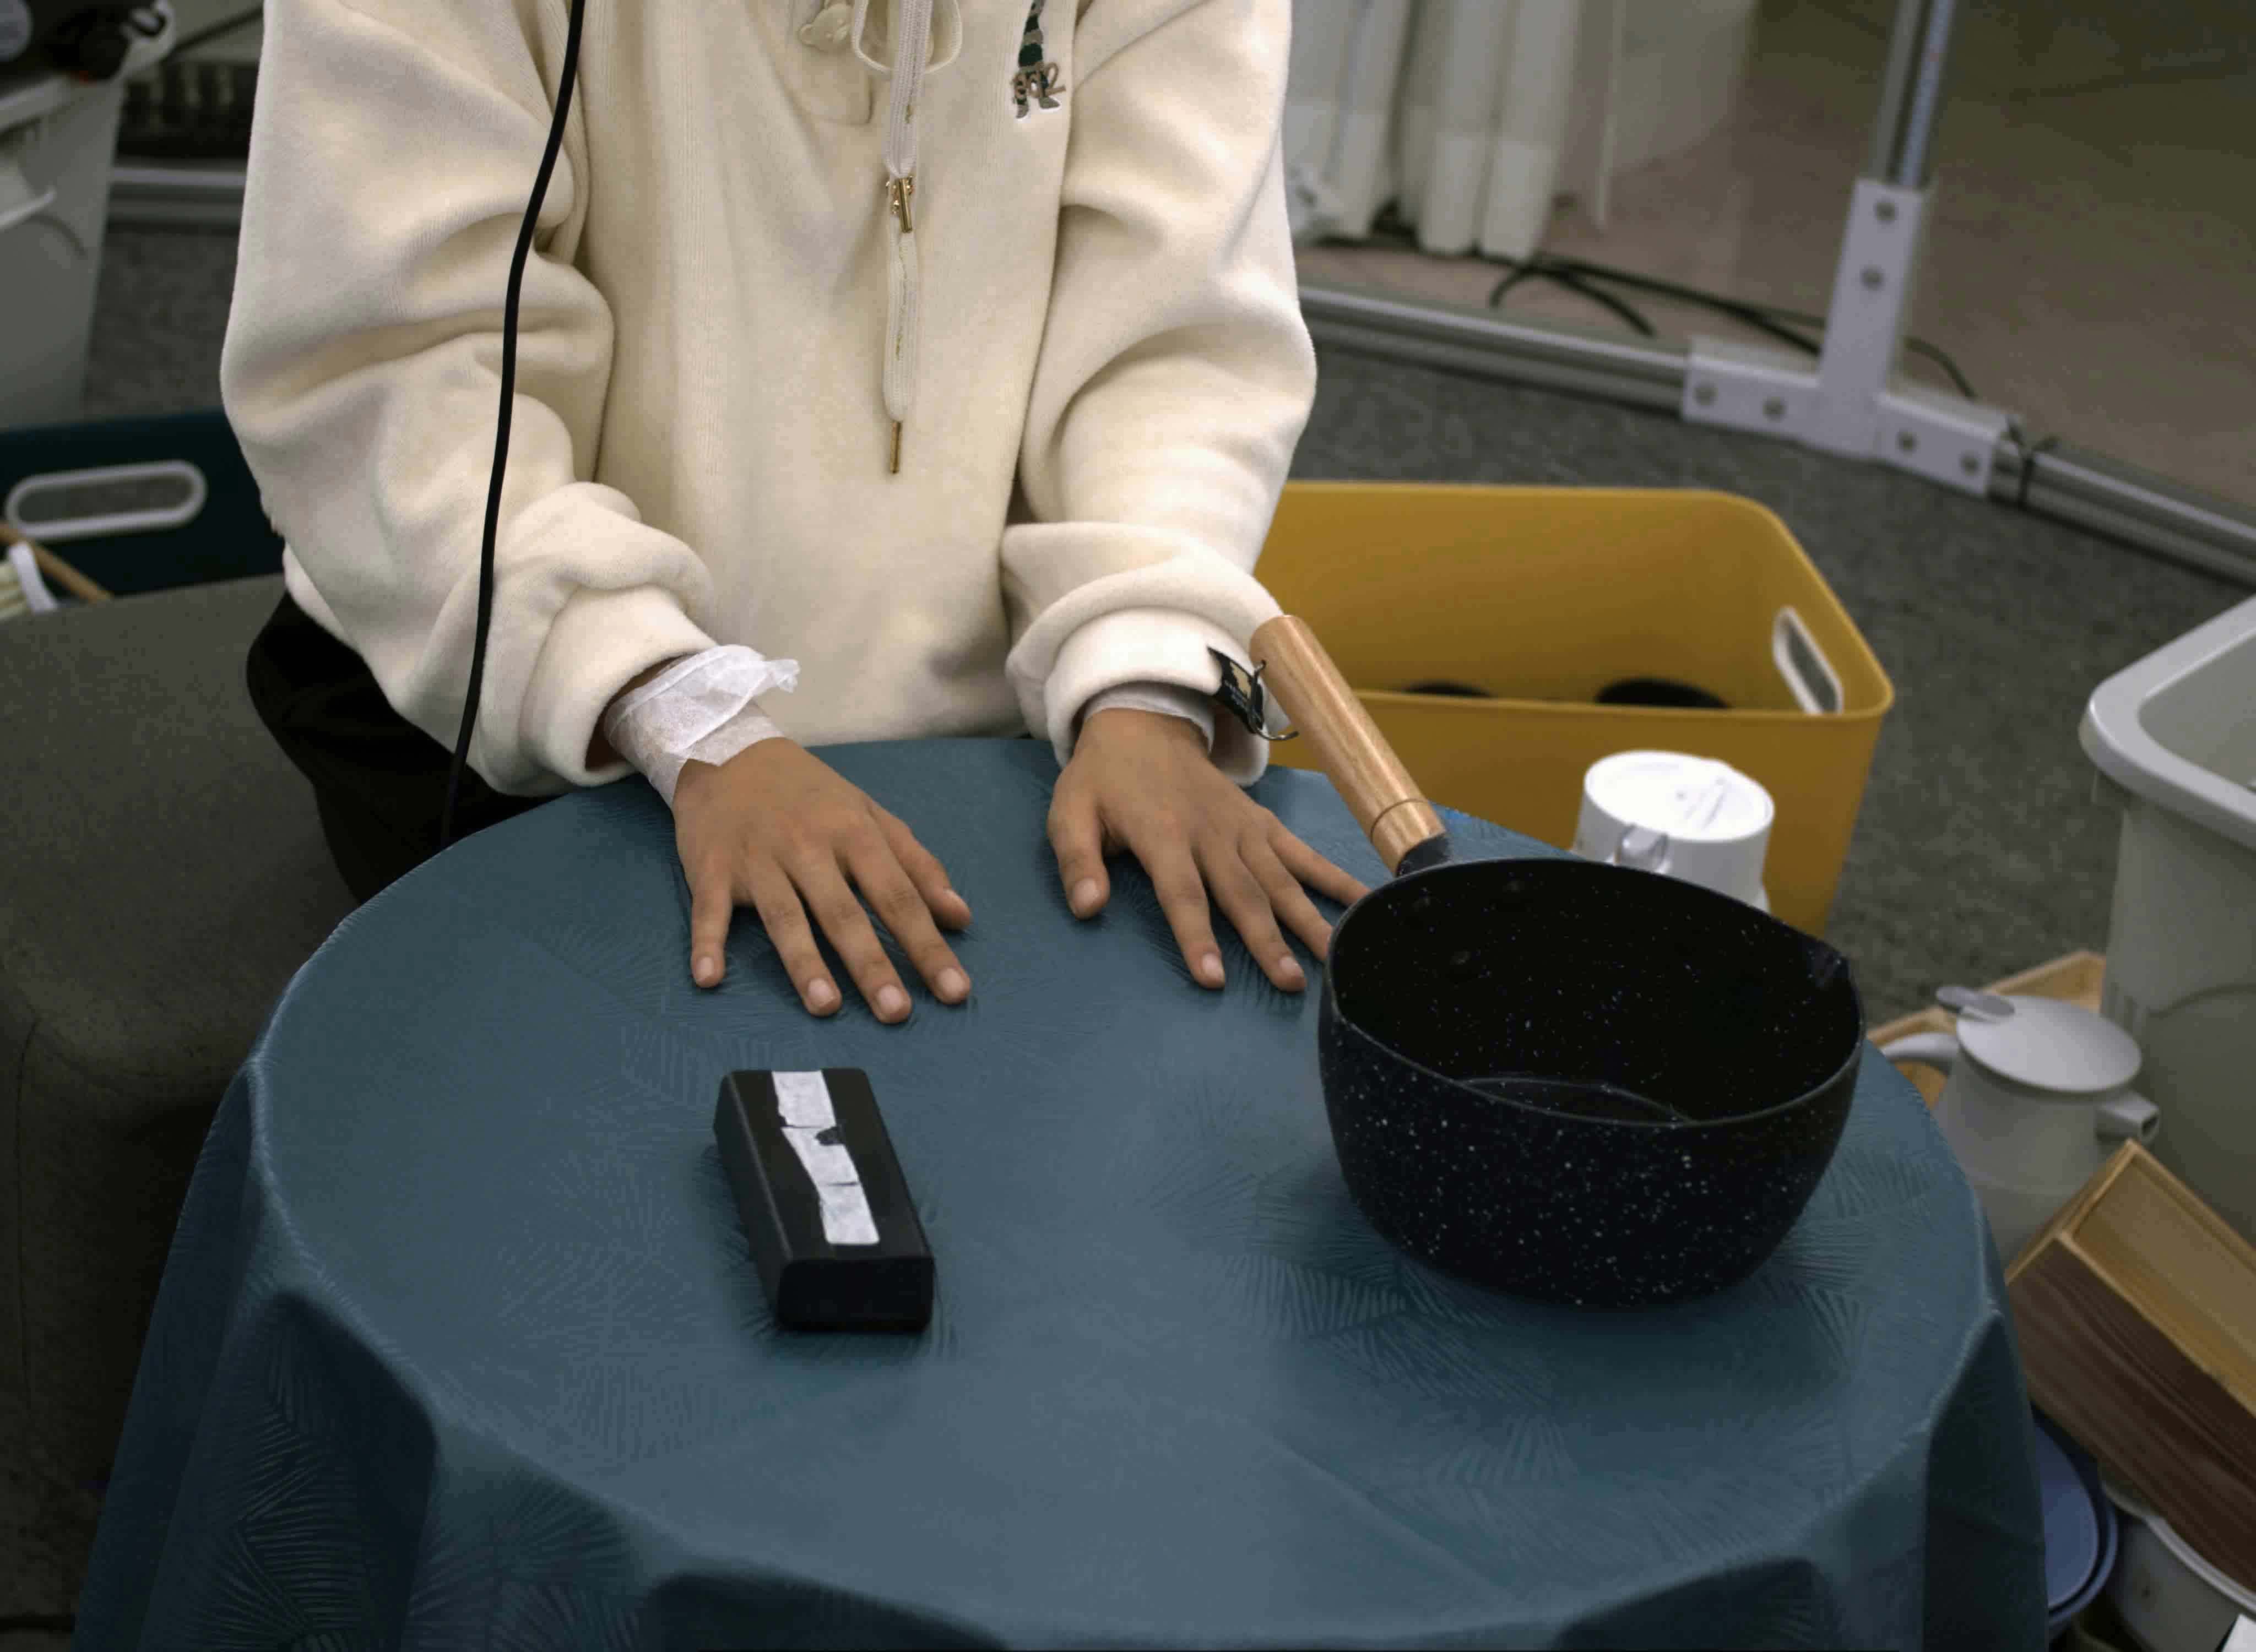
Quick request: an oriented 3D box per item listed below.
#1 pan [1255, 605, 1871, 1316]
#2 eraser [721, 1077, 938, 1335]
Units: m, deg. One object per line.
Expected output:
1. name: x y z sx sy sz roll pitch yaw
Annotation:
1. pan: 0.120 0.044 1.866 0.206 0.108 0.346 -8 32 -25
2. eraser: -0.099 0.124 1.749 0.053 0.030 0.126 0 26 -13
